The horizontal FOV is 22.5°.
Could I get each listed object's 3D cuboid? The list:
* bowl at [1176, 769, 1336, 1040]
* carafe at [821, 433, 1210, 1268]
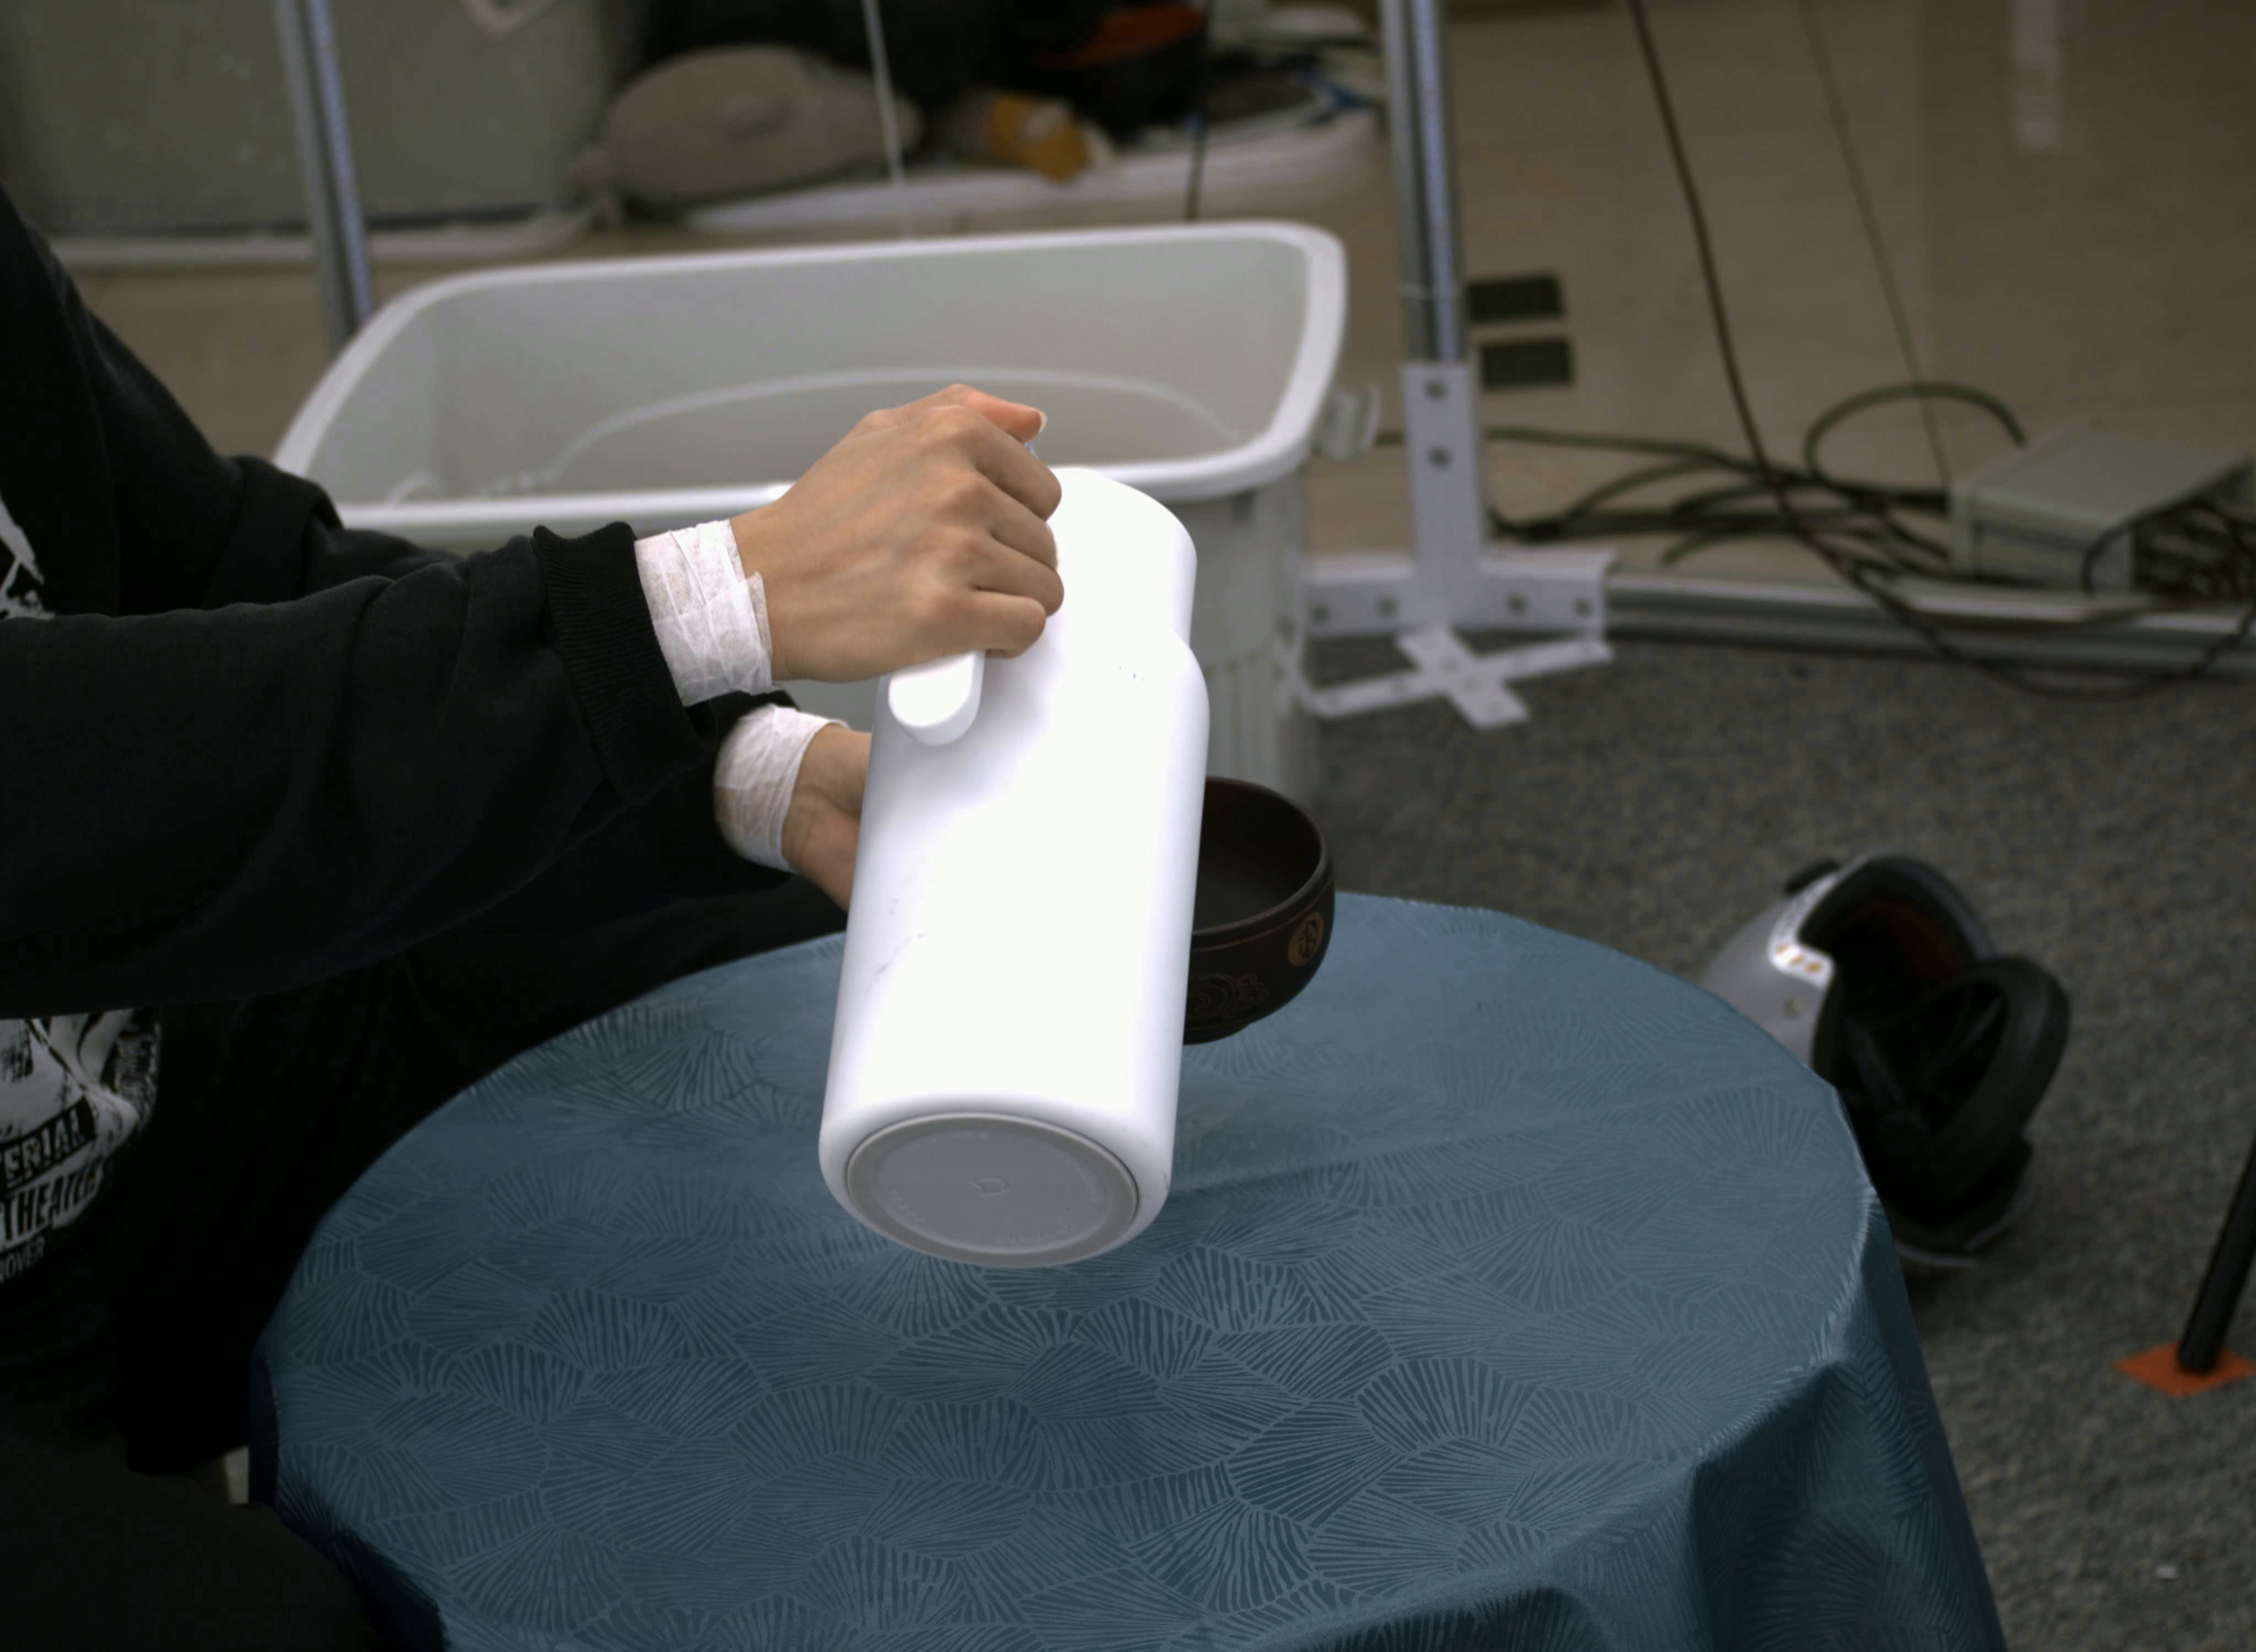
[{"bbox_3d":[0.021,0.037,2.143,0.118,0.071,0.116,-3,33,2],"label":"bowl"},{"bbox_3d":[-0.038,0.002,1.929,0.123,0.176,0.264,-3,56,17],"label":"carafe"}]
